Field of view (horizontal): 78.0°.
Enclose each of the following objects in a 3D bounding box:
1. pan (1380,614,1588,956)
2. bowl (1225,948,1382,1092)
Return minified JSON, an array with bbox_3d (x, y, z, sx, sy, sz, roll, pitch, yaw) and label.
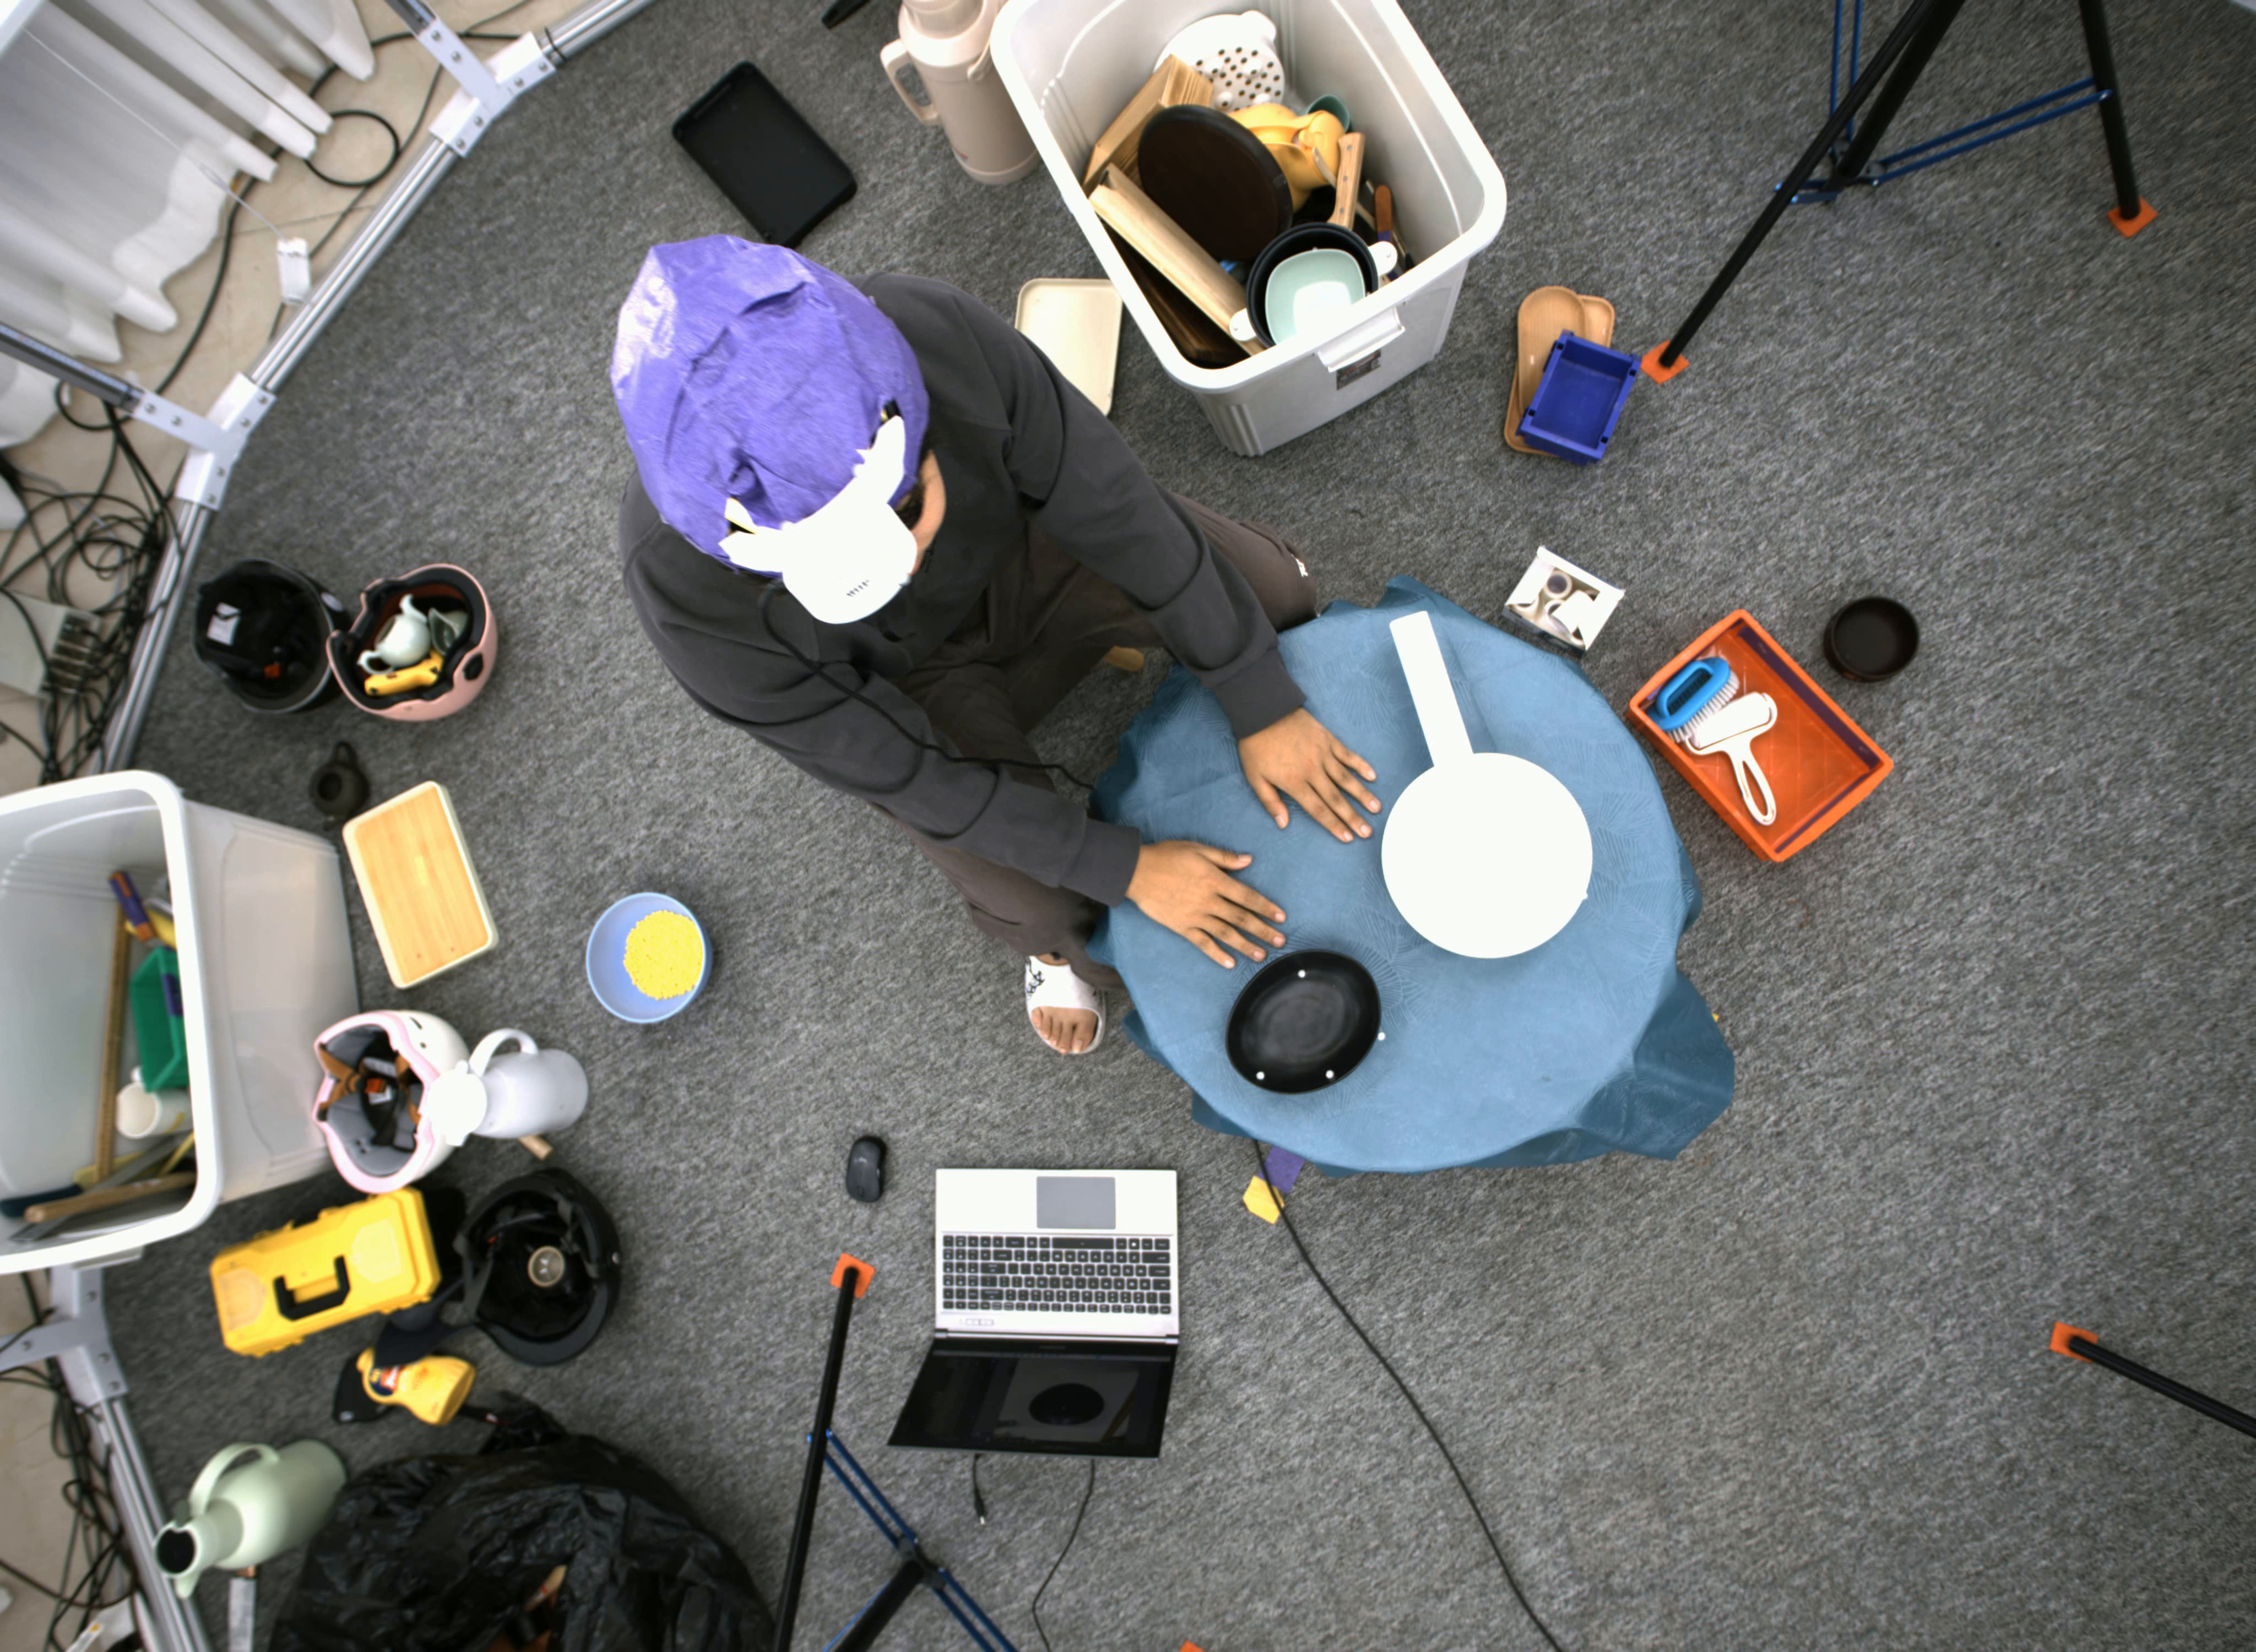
[{"bbox_3d":[0.340,-0.041,1.412,0.203,0.102,0.352,-18,81,13],"label":"pan"},{"bbox_3d":[0.183,0.201,1.437,0.171,0.066,0.136,-36,80,8],"label":"bowl"}]
